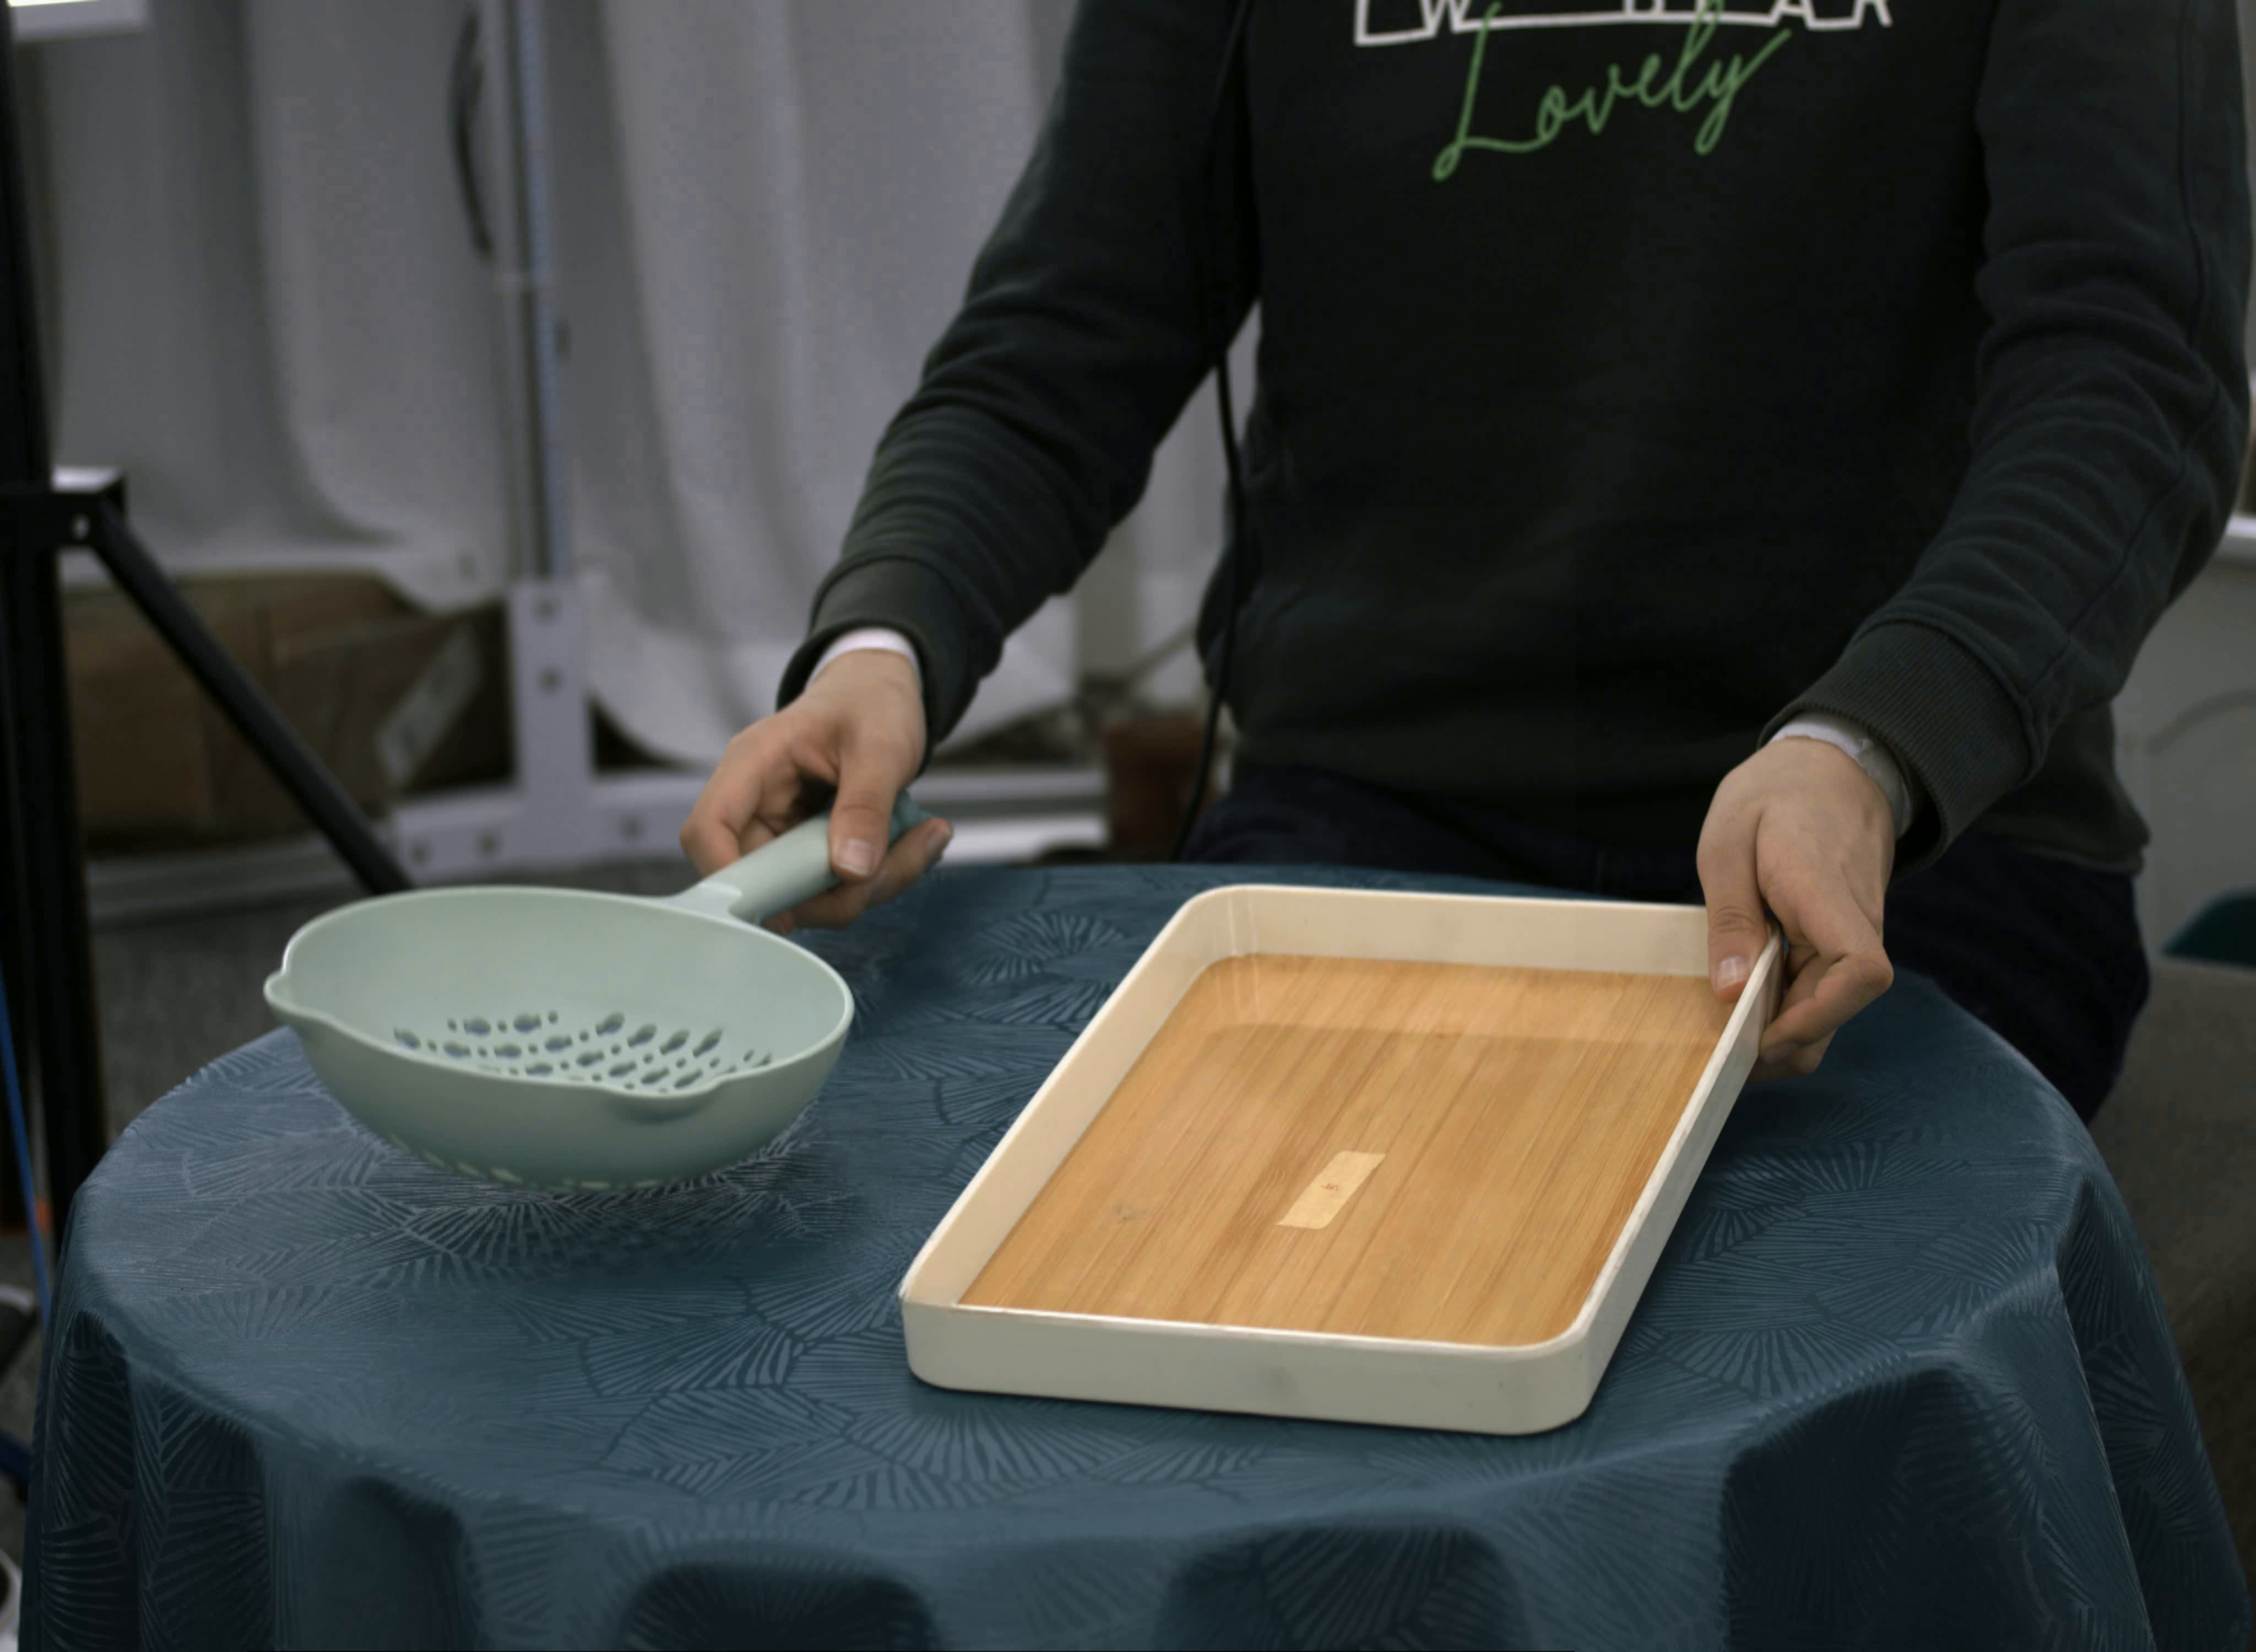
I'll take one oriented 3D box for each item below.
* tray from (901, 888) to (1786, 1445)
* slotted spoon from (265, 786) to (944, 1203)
[{"bbox_3d":[0.070,0.090,1.510,0.193,0.027,0.298,3,23,19],"label":"tray"},{"bbox_3d":[-0.131,0.036,1.662,0.171,0.075,0.355,12,26,18],"label":"slotted spoon"}]
